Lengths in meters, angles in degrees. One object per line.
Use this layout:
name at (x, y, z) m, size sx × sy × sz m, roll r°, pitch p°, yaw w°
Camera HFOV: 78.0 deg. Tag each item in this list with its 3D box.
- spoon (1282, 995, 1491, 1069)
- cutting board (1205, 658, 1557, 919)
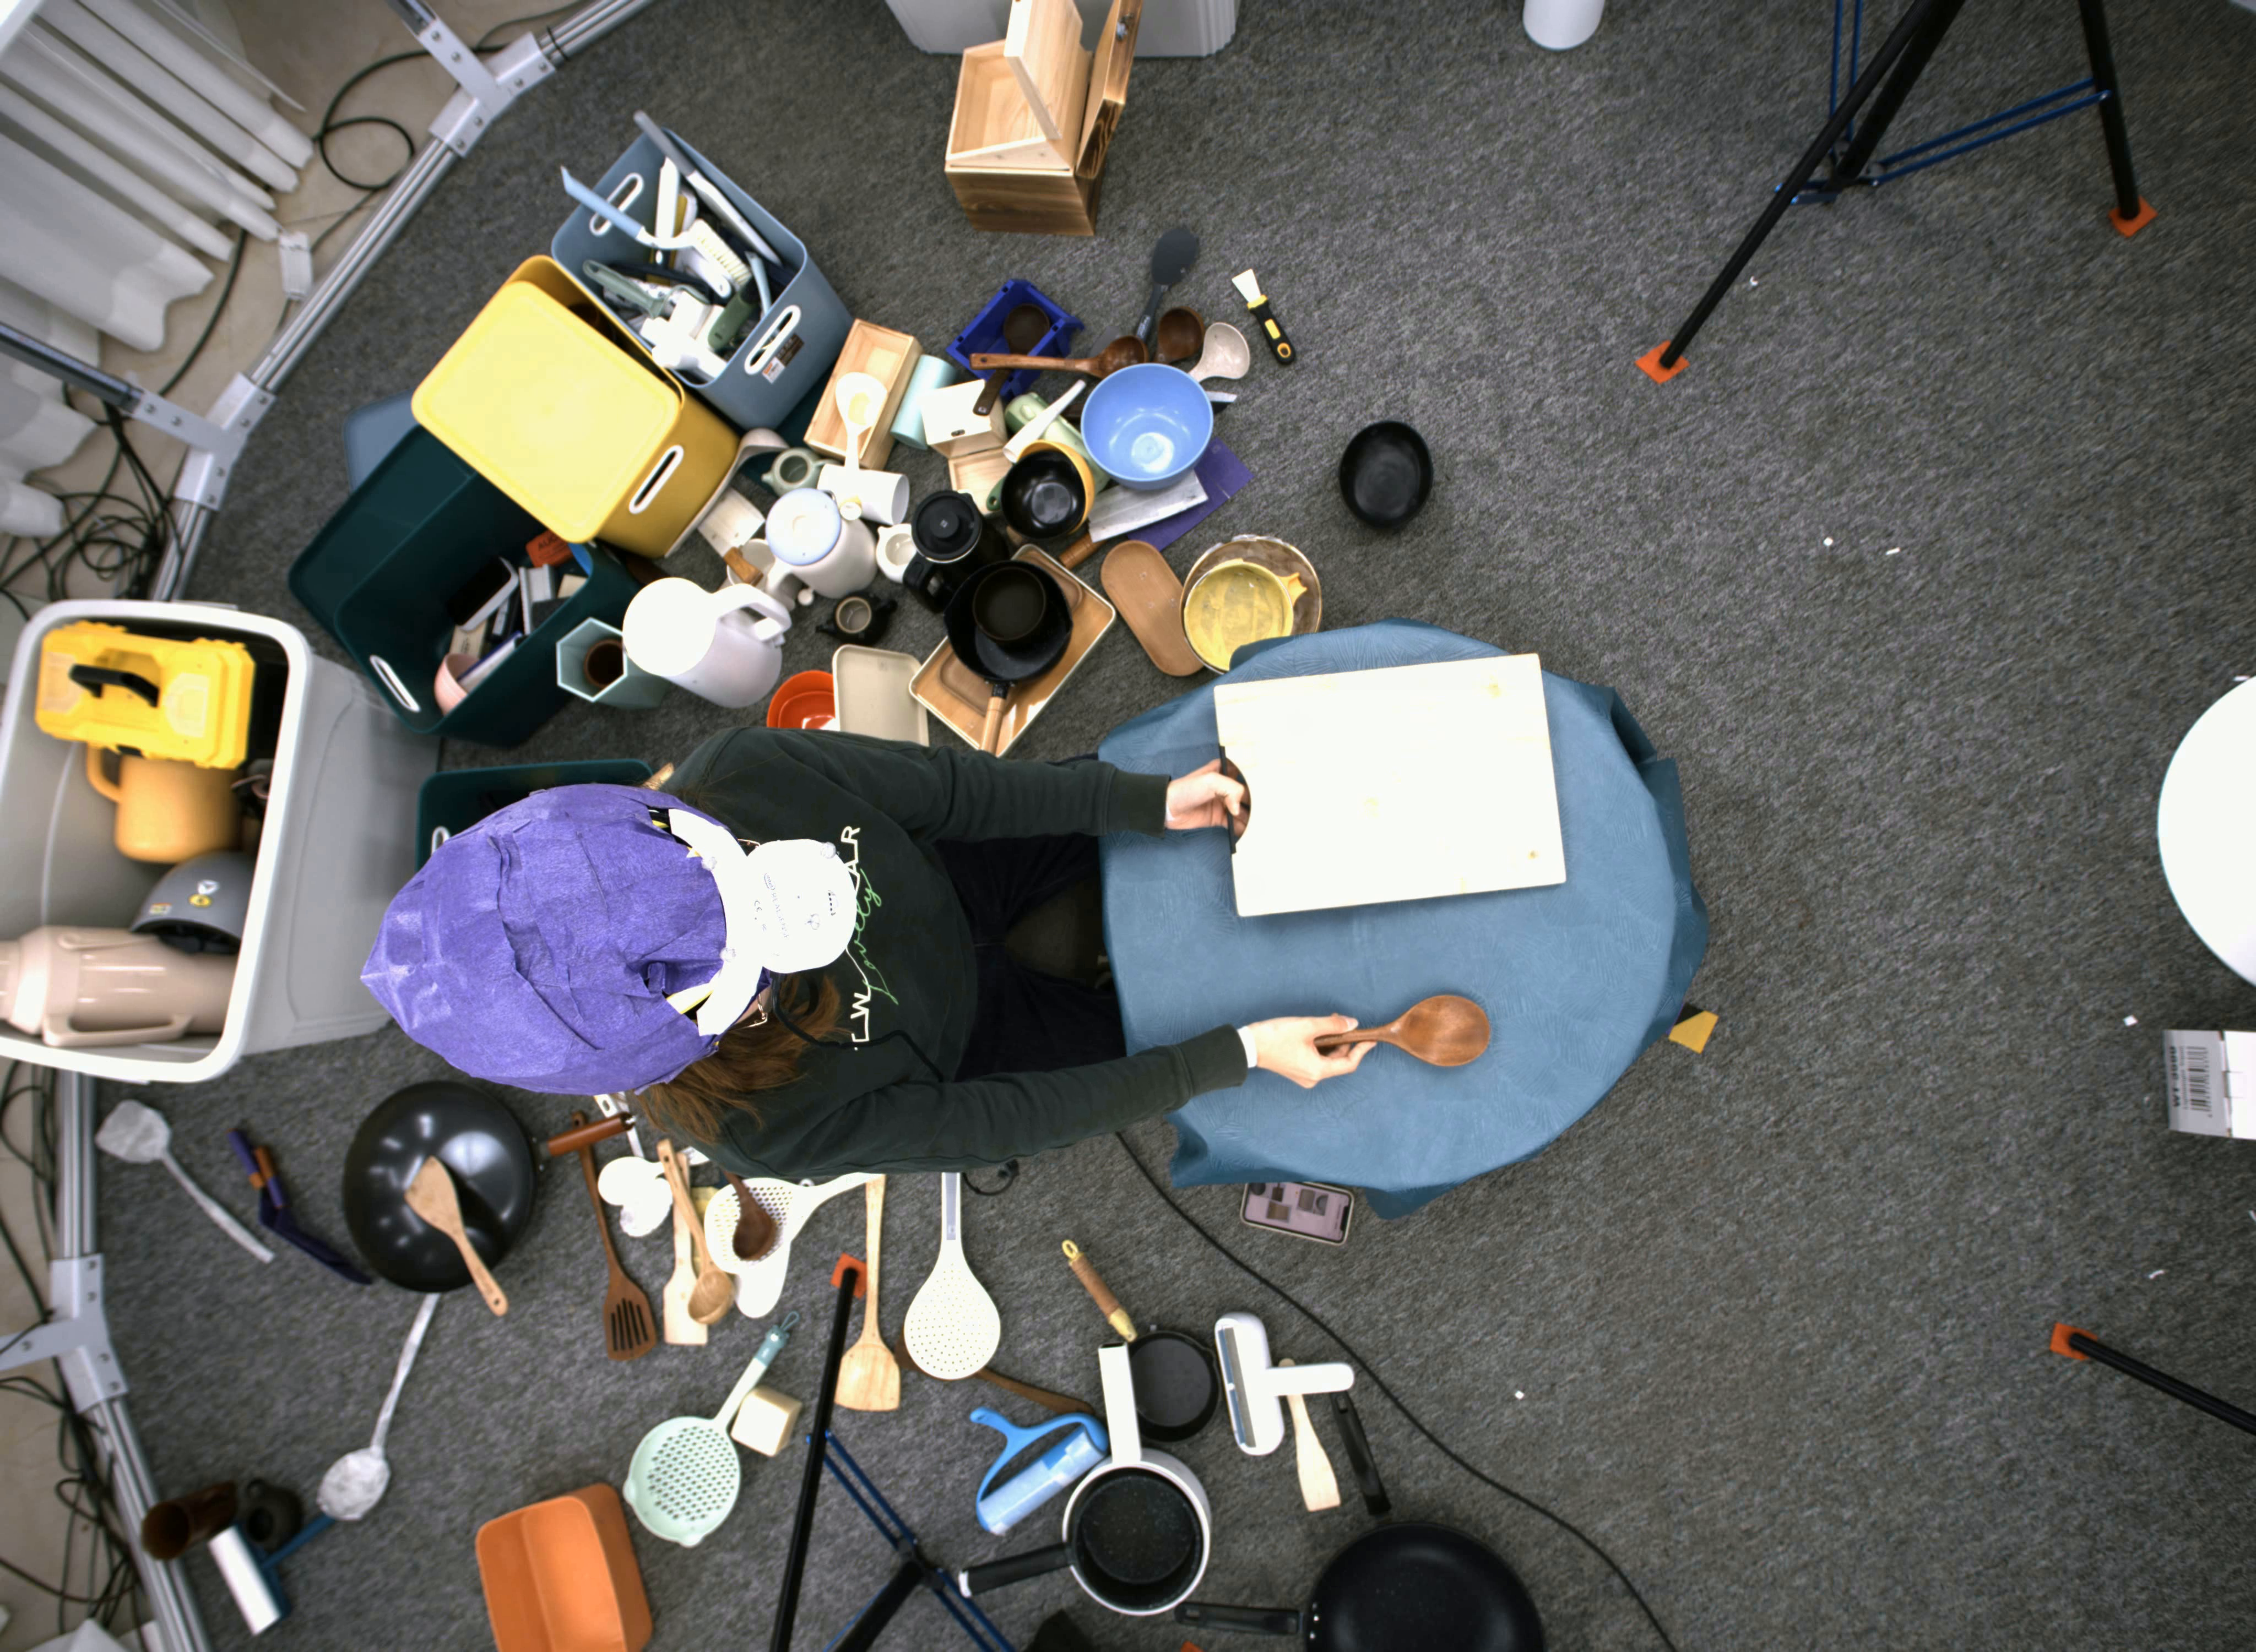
spoon at (0.265, 0.213, 1.421) m, size 0.216 × 0.017 × 0.075 m, roll -3°, pitch 82°, yaw 0°
cutting board at (0.265, -0.041, 1.429) m, size 0.349 × 0.023 × 0.250 m, roll -7°, pitch 88°, yaw 1°
